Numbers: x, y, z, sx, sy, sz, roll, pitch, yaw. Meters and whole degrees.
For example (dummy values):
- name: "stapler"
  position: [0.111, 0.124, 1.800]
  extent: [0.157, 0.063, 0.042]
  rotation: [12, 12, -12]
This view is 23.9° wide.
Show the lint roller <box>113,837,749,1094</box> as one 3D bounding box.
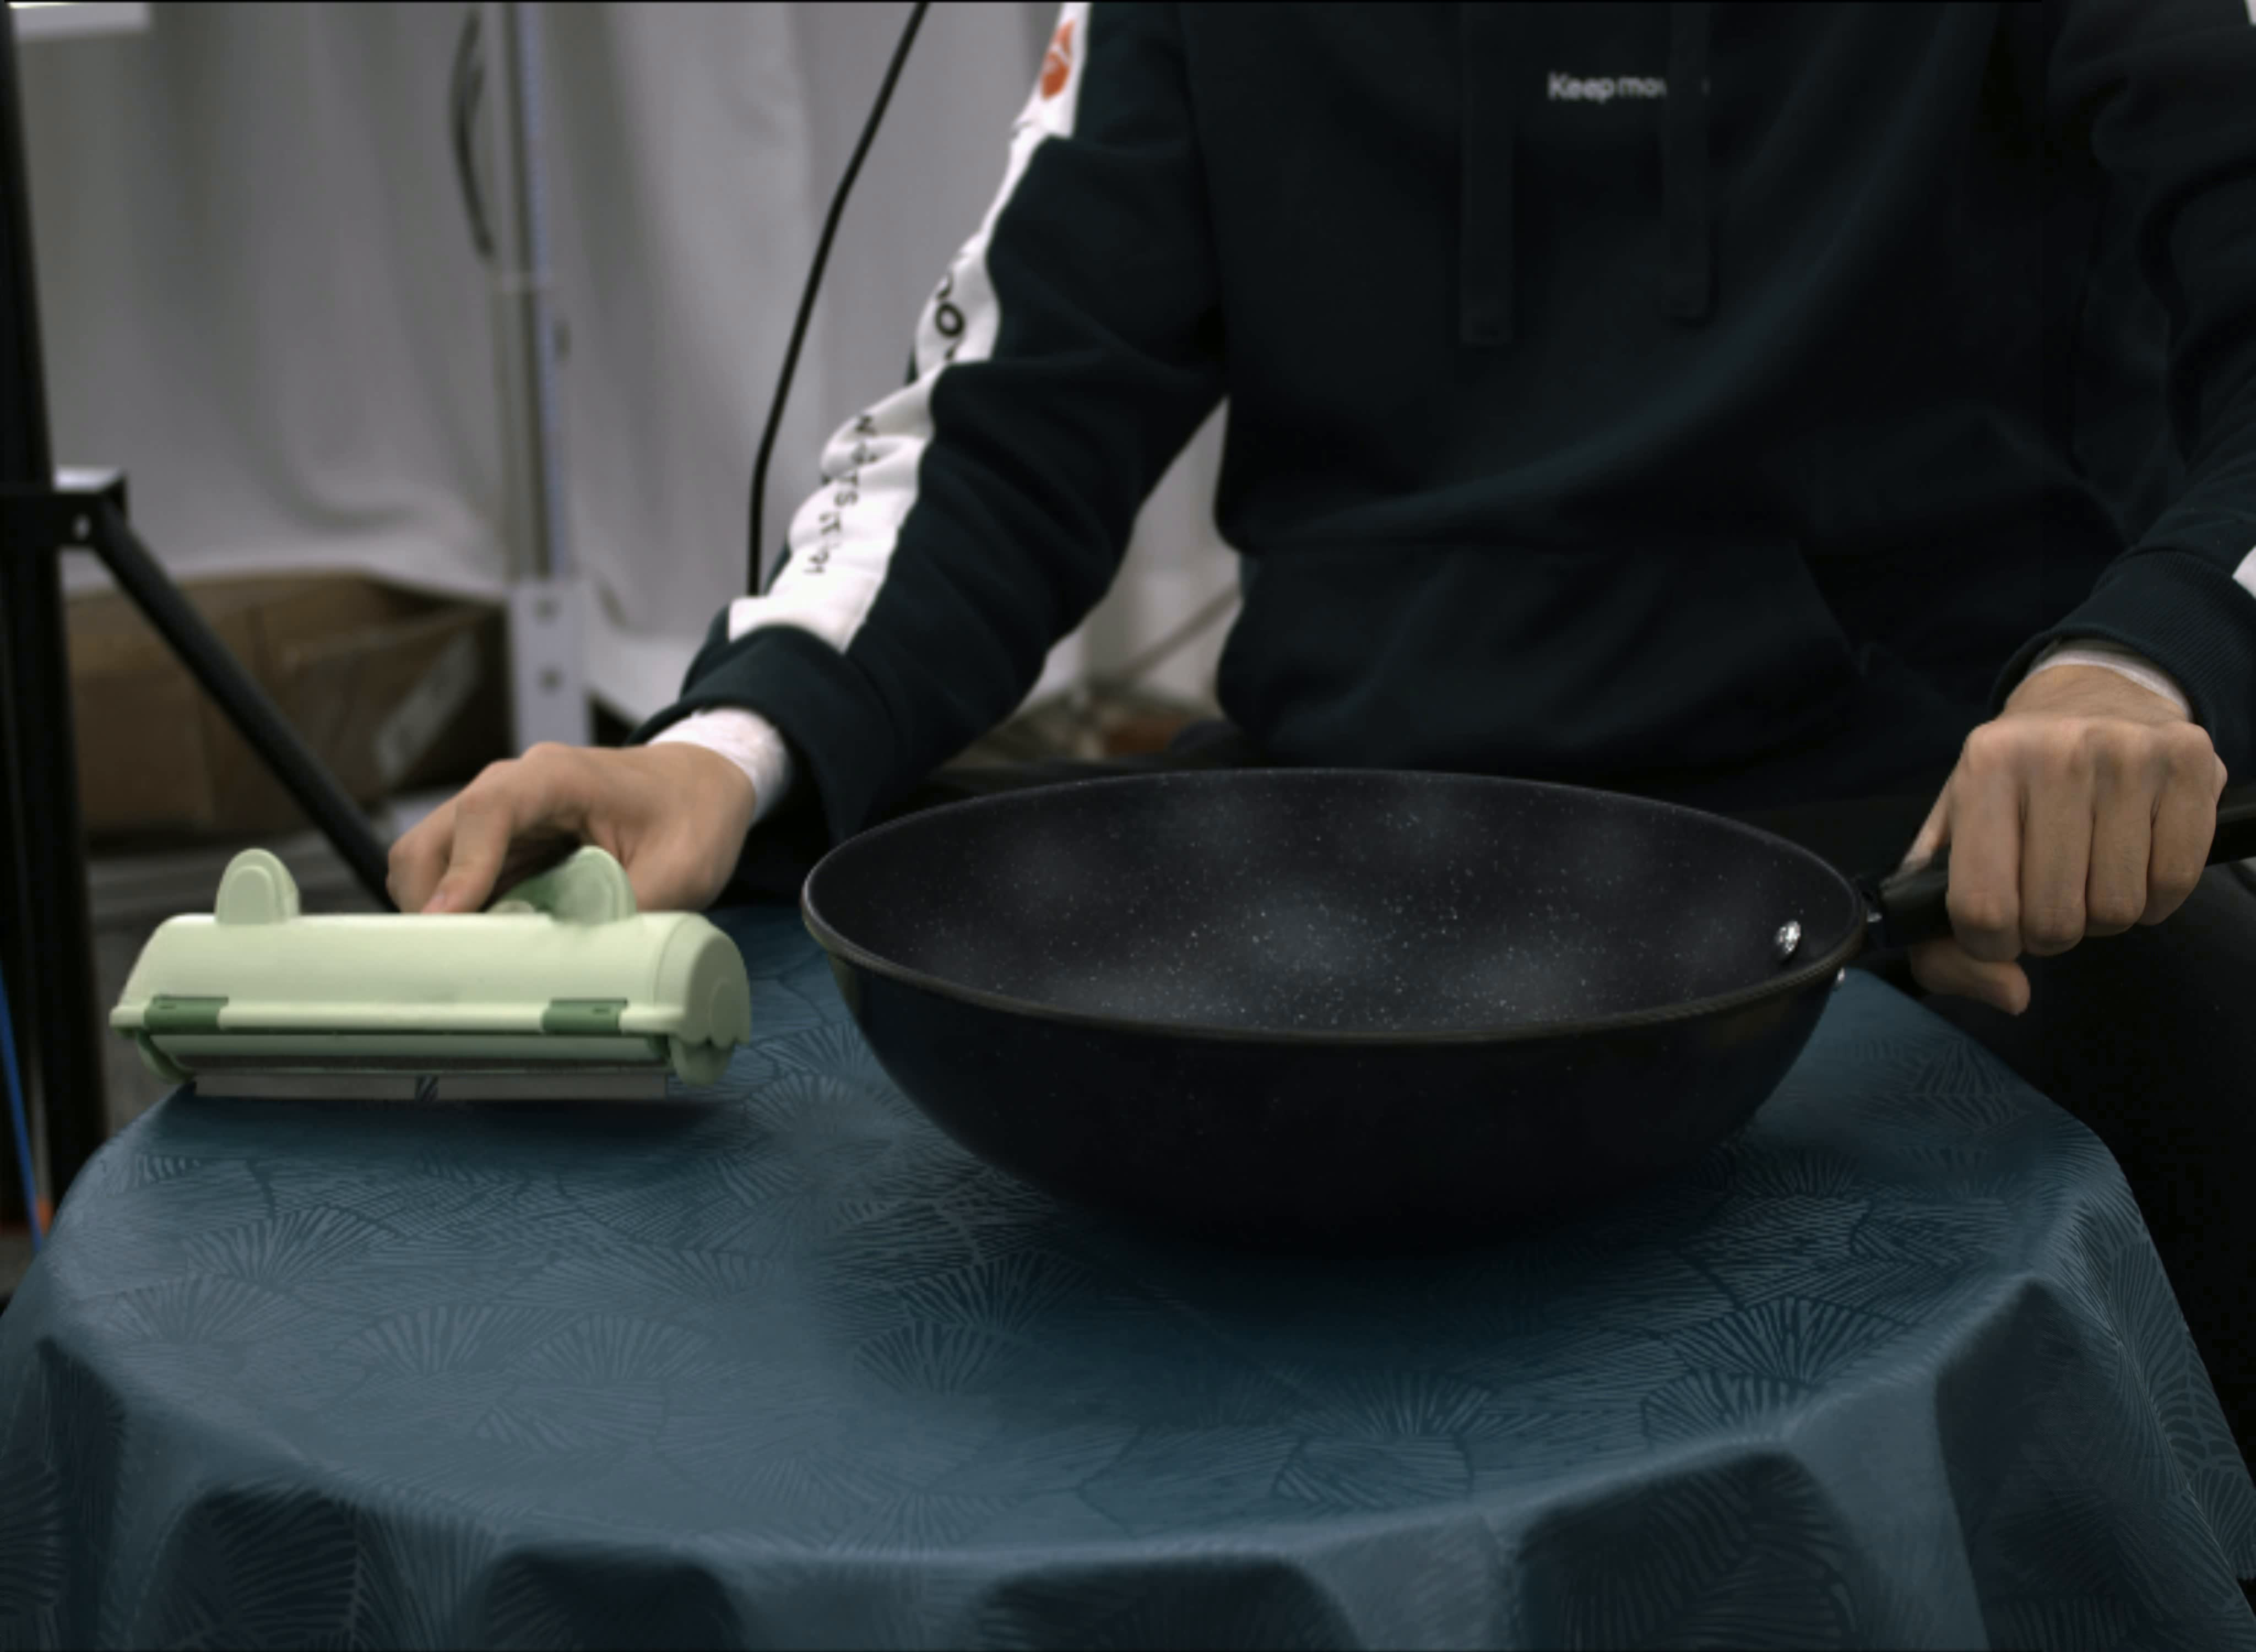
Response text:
- name: "lint roller"
  position: [-0.201, 0.024, 1.708]
  extent: [0.201, 0.082, 0.182]
  rotation: [-2, 24, 22]

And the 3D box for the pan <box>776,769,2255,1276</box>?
- name: "pan"
  position: [0.135, 0.048, 1.549]
  extent: [0.472, 0.112, 0.313]
  rotation: [-2, 15, -7]
